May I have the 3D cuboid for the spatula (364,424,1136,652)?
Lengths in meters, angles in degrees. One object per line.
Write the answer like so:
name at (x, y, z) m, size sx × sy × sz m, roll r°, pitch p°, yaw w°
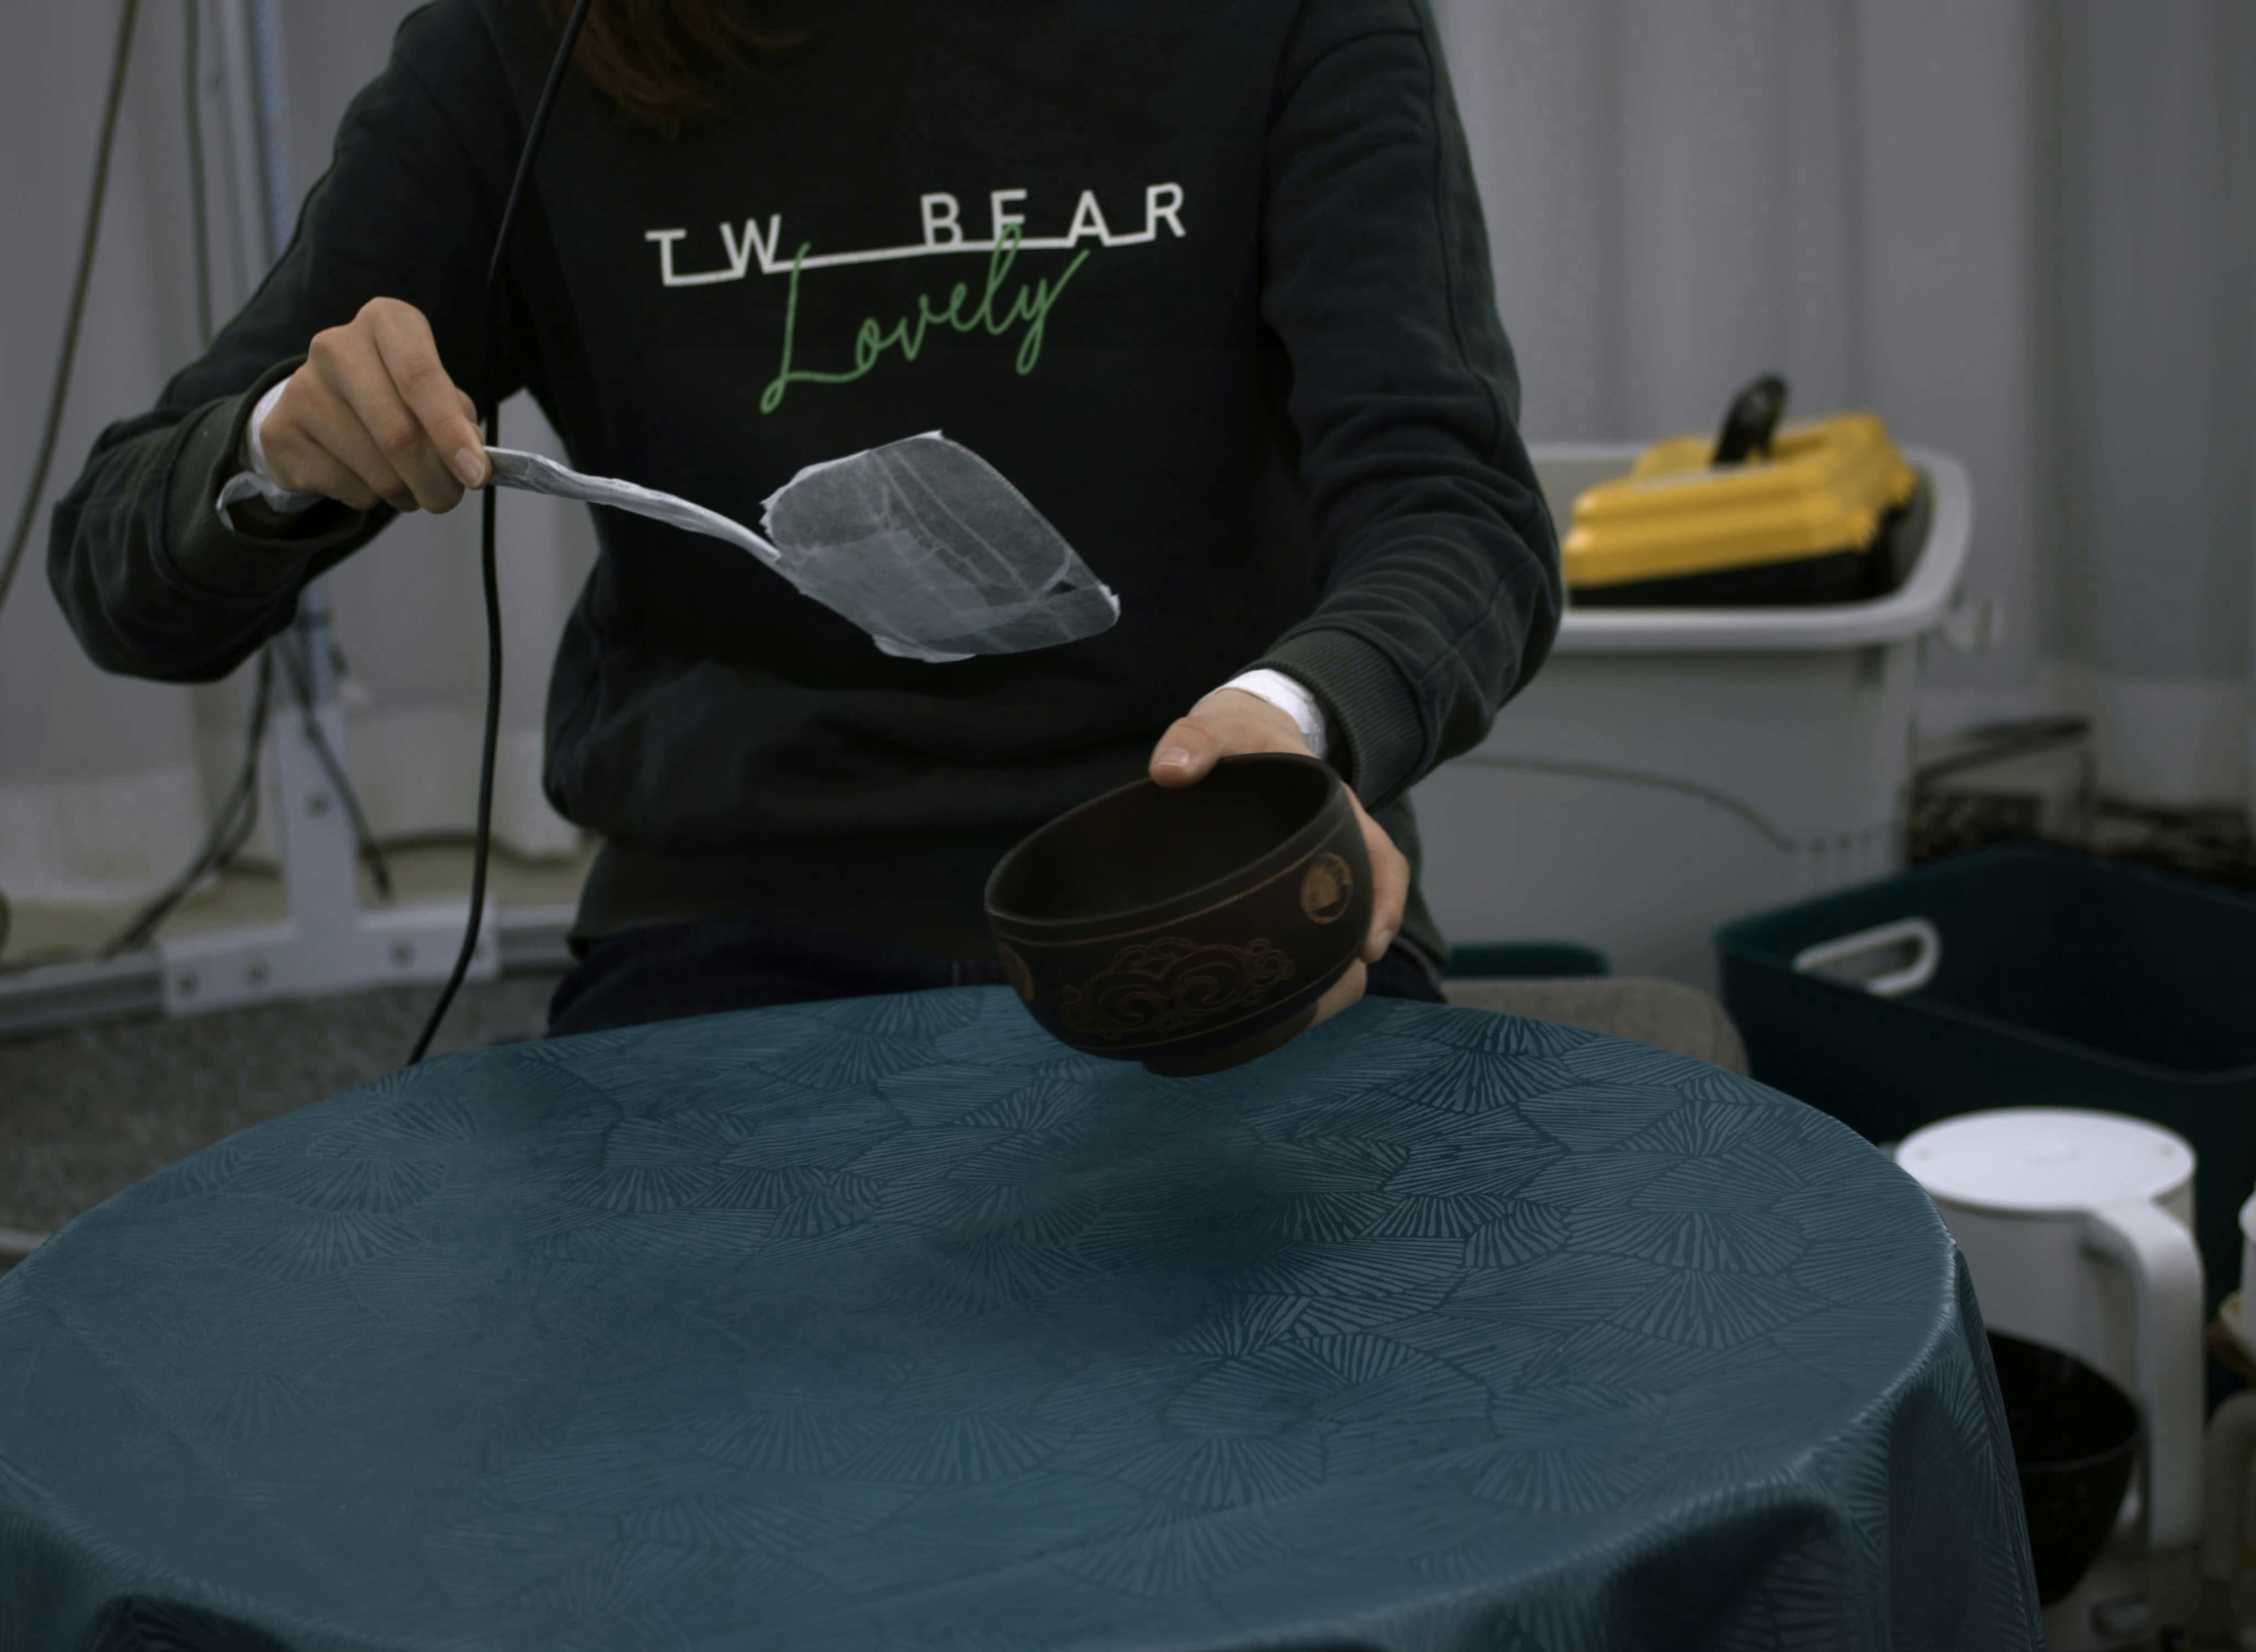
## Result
spatula at (-0.141, -0.103, 1.748) m, size 0.367 × 0.097 × 0.045 m, roll 15°, pitch 66°, yaw 49°

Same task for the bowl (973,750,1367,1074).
bowl at (0.018, 0.032, 1.660) m, size 0.118 × 0.069 × 0.119 m, roll -16°, pitch 18°, yaw 5°
